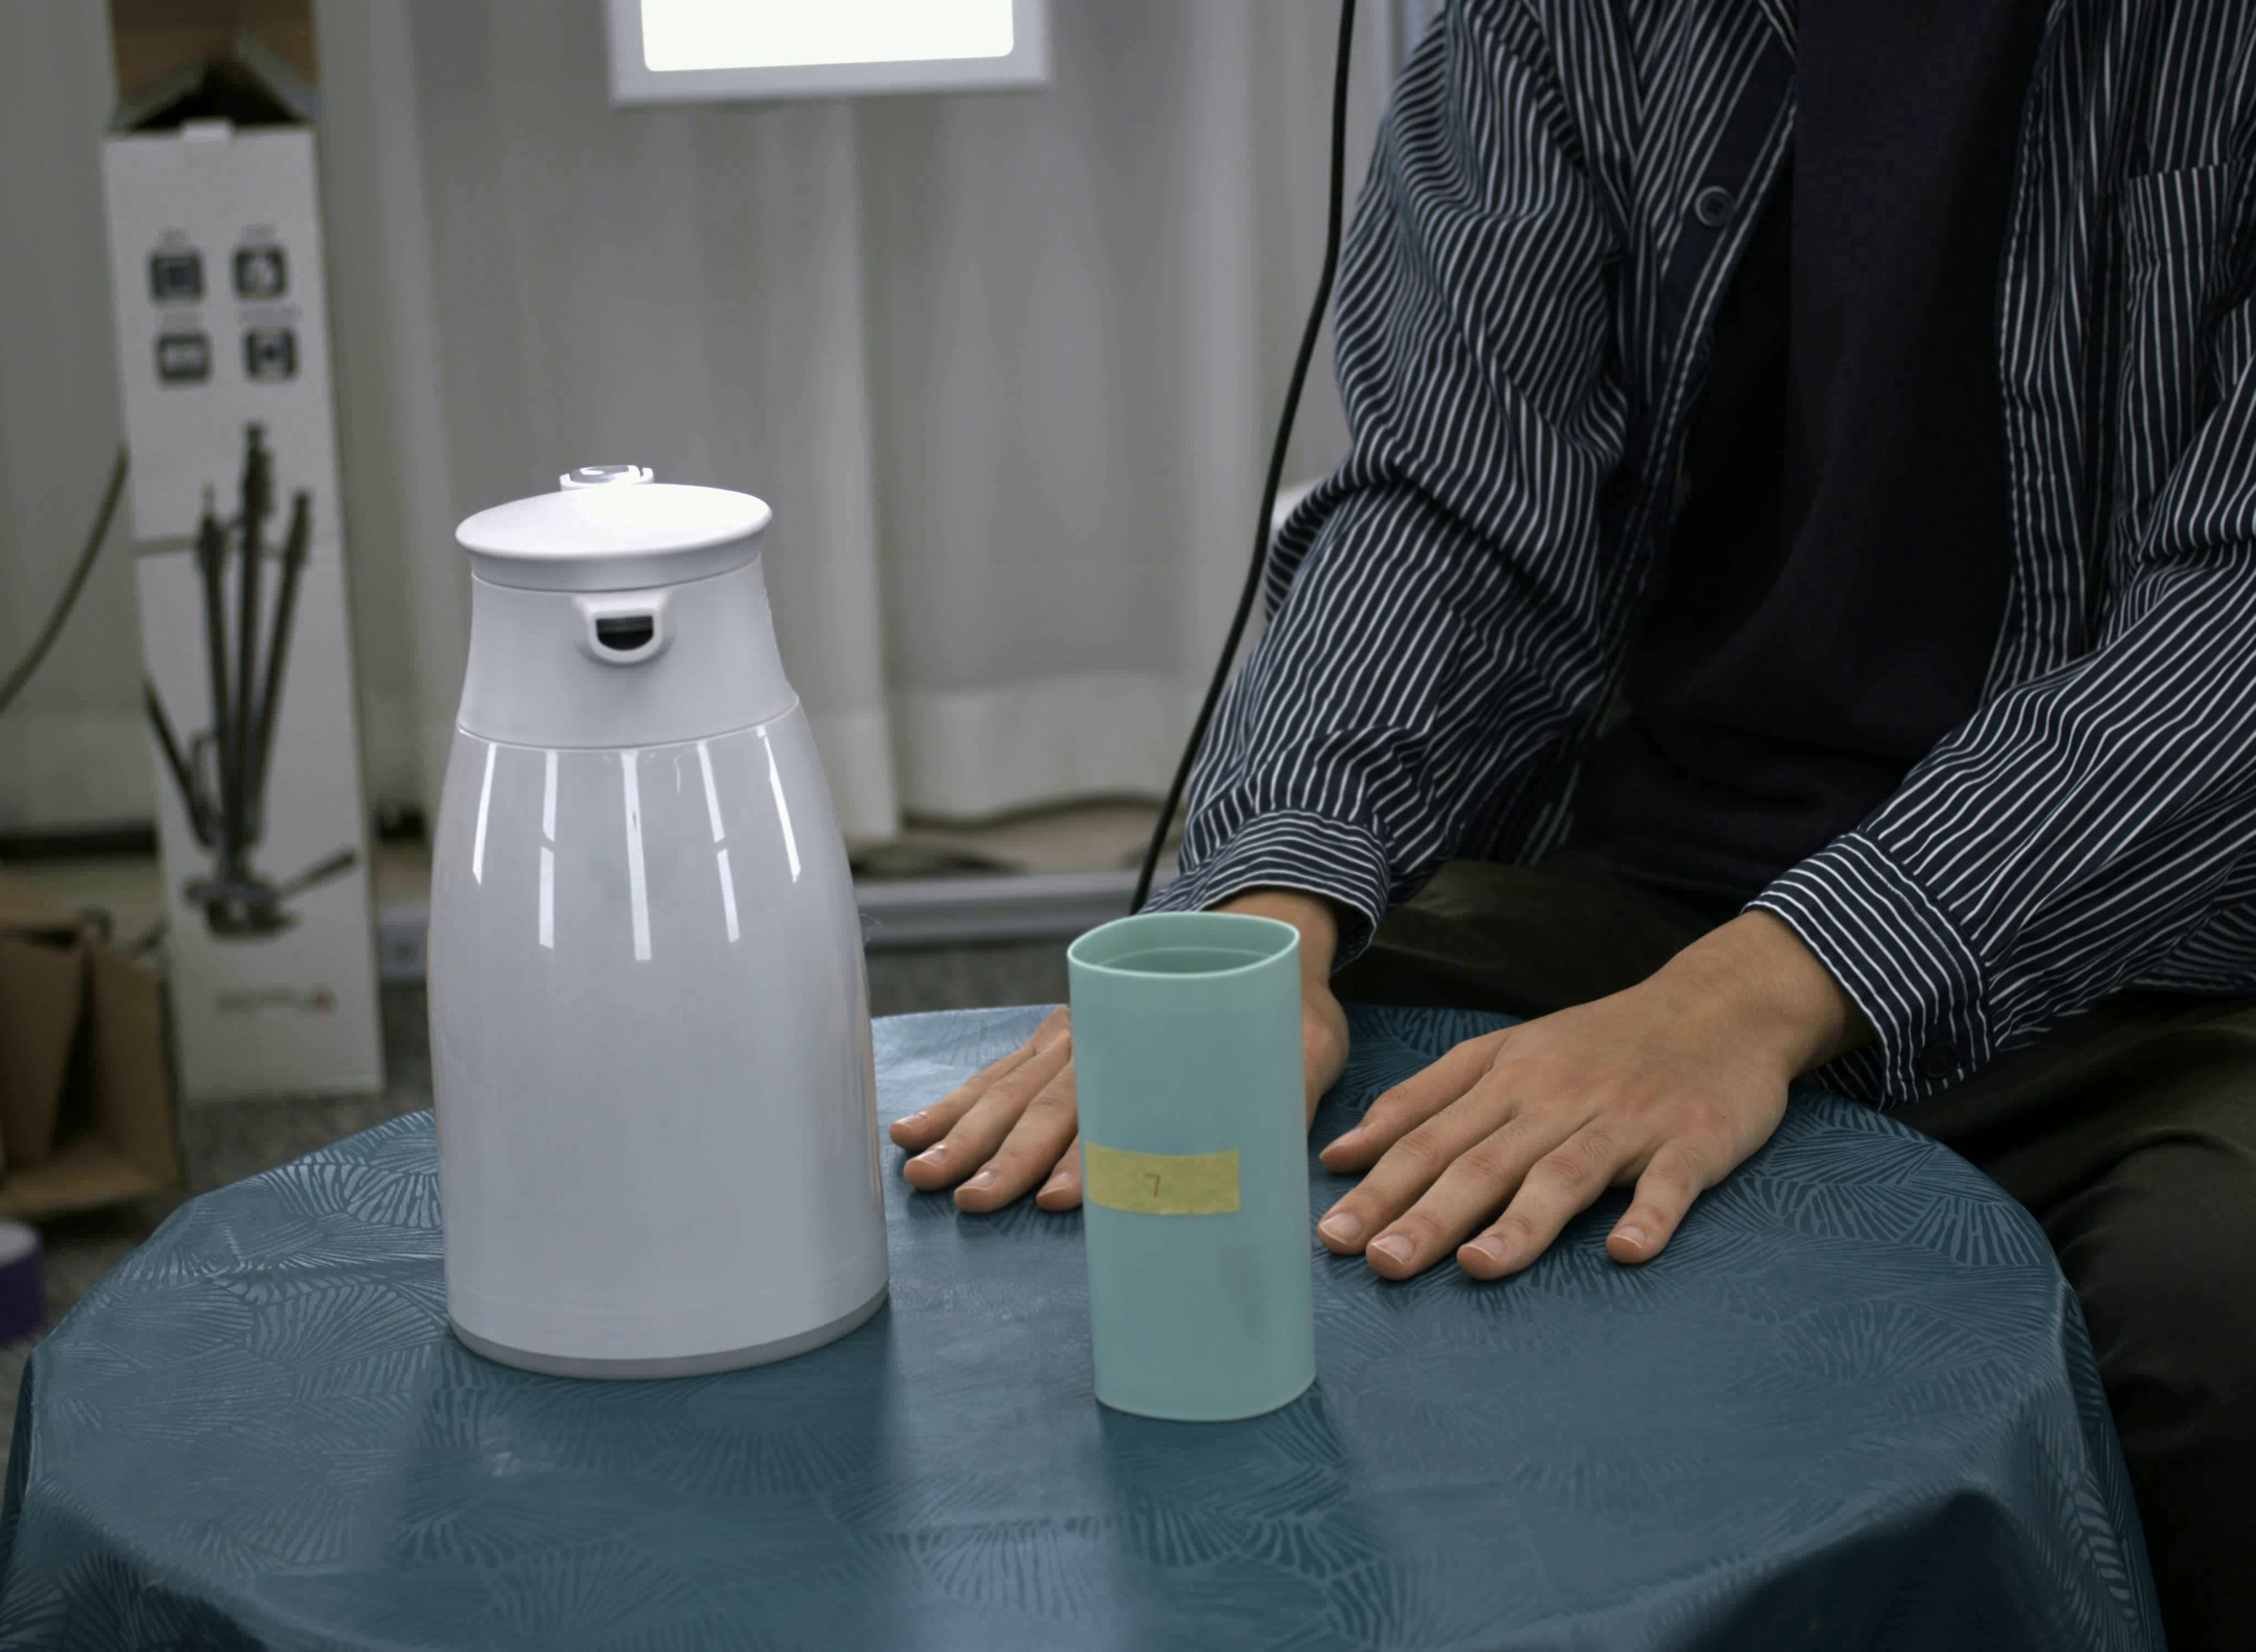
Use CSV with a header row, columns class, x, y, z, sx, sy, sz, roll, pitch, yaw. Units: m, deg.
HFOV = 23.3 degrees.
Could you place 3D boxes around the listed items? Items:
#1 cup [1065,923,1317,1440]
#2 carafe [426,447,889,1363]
class,x,y,z,sx,sy,sz,roll,pitch,yaw
cup,0.019,0.098,1.534,0.066,0.132,0.067,-3,14,1
carafe,-0.148,0.015,1.626,0.132,0.248,0.169,-6,13,-9
